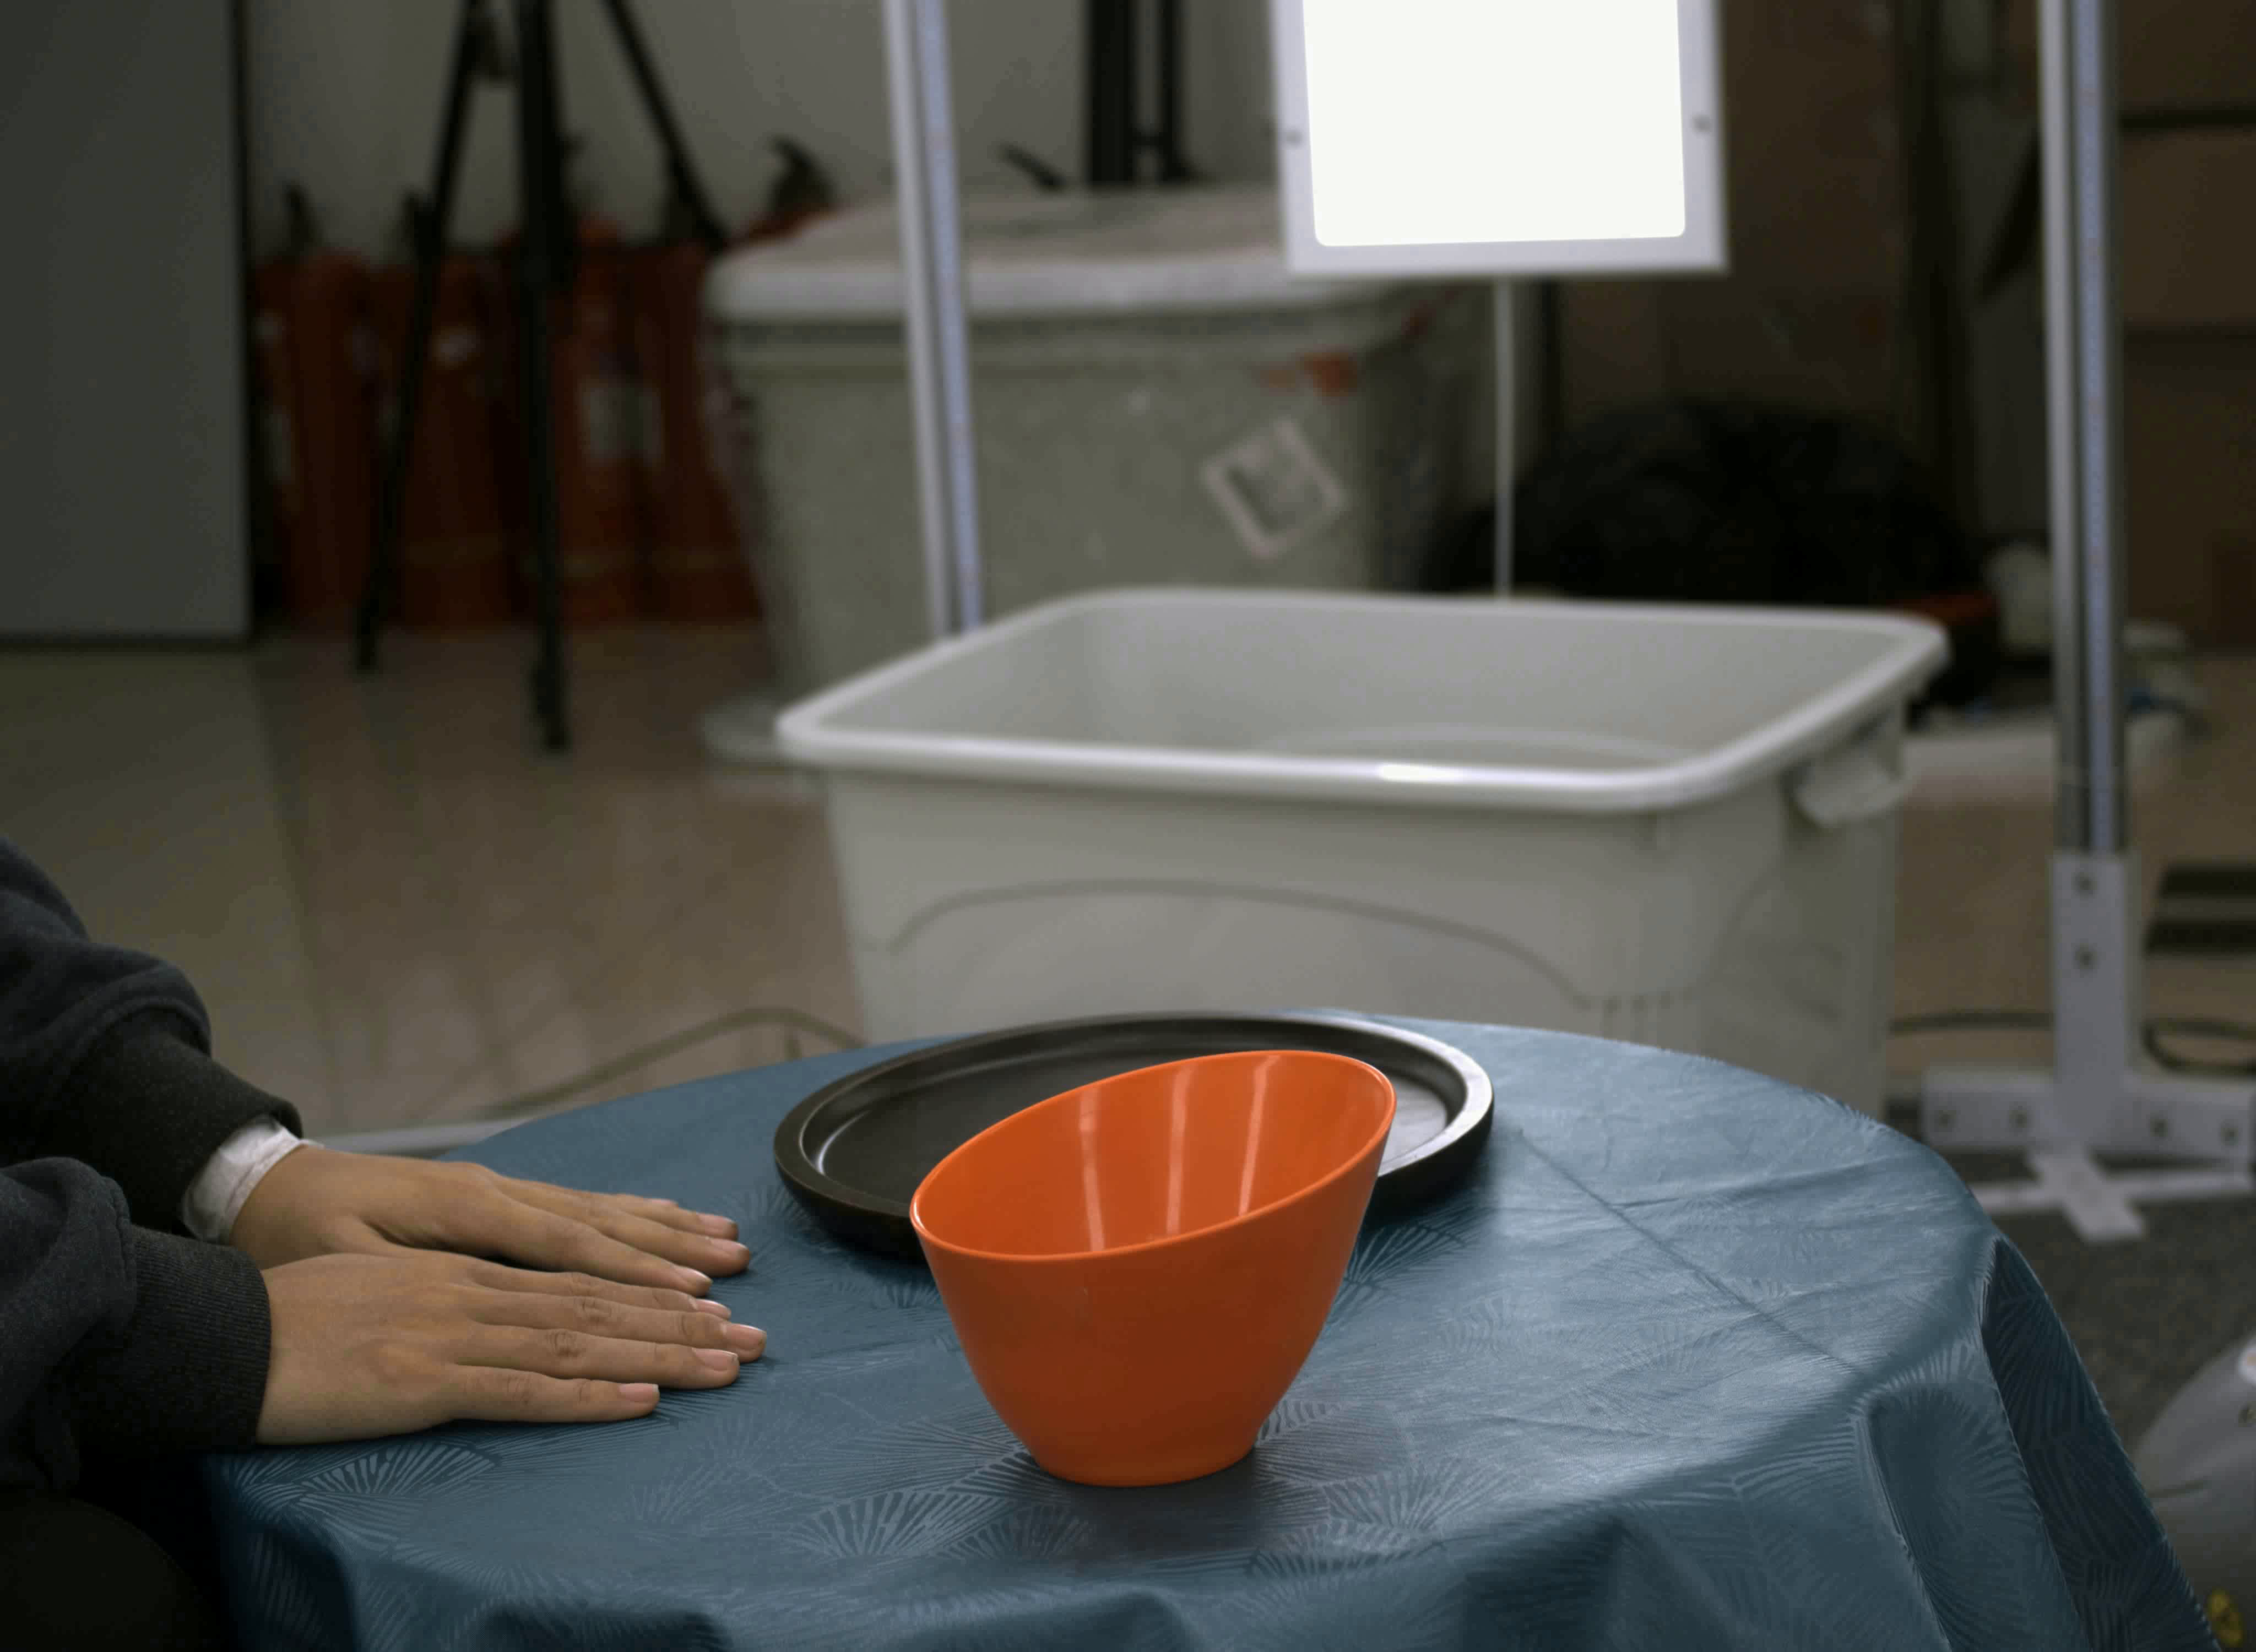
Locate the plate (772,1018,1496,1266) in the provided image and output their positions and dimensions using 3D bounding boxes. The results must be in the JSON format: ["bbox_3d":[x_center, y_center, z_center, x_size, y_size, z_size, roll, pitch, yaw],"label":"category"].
[{"bbox_3d":[0.002,0.109,1.918,0.254,0.029,0.254,-5,15,0],"label":"plate"}]

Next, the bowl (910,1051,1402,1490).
[{"bbox_3d":[0.011,0.136,1.640,0.147,0.105,0.148,-4,16,0],"label":"bowl"}]
